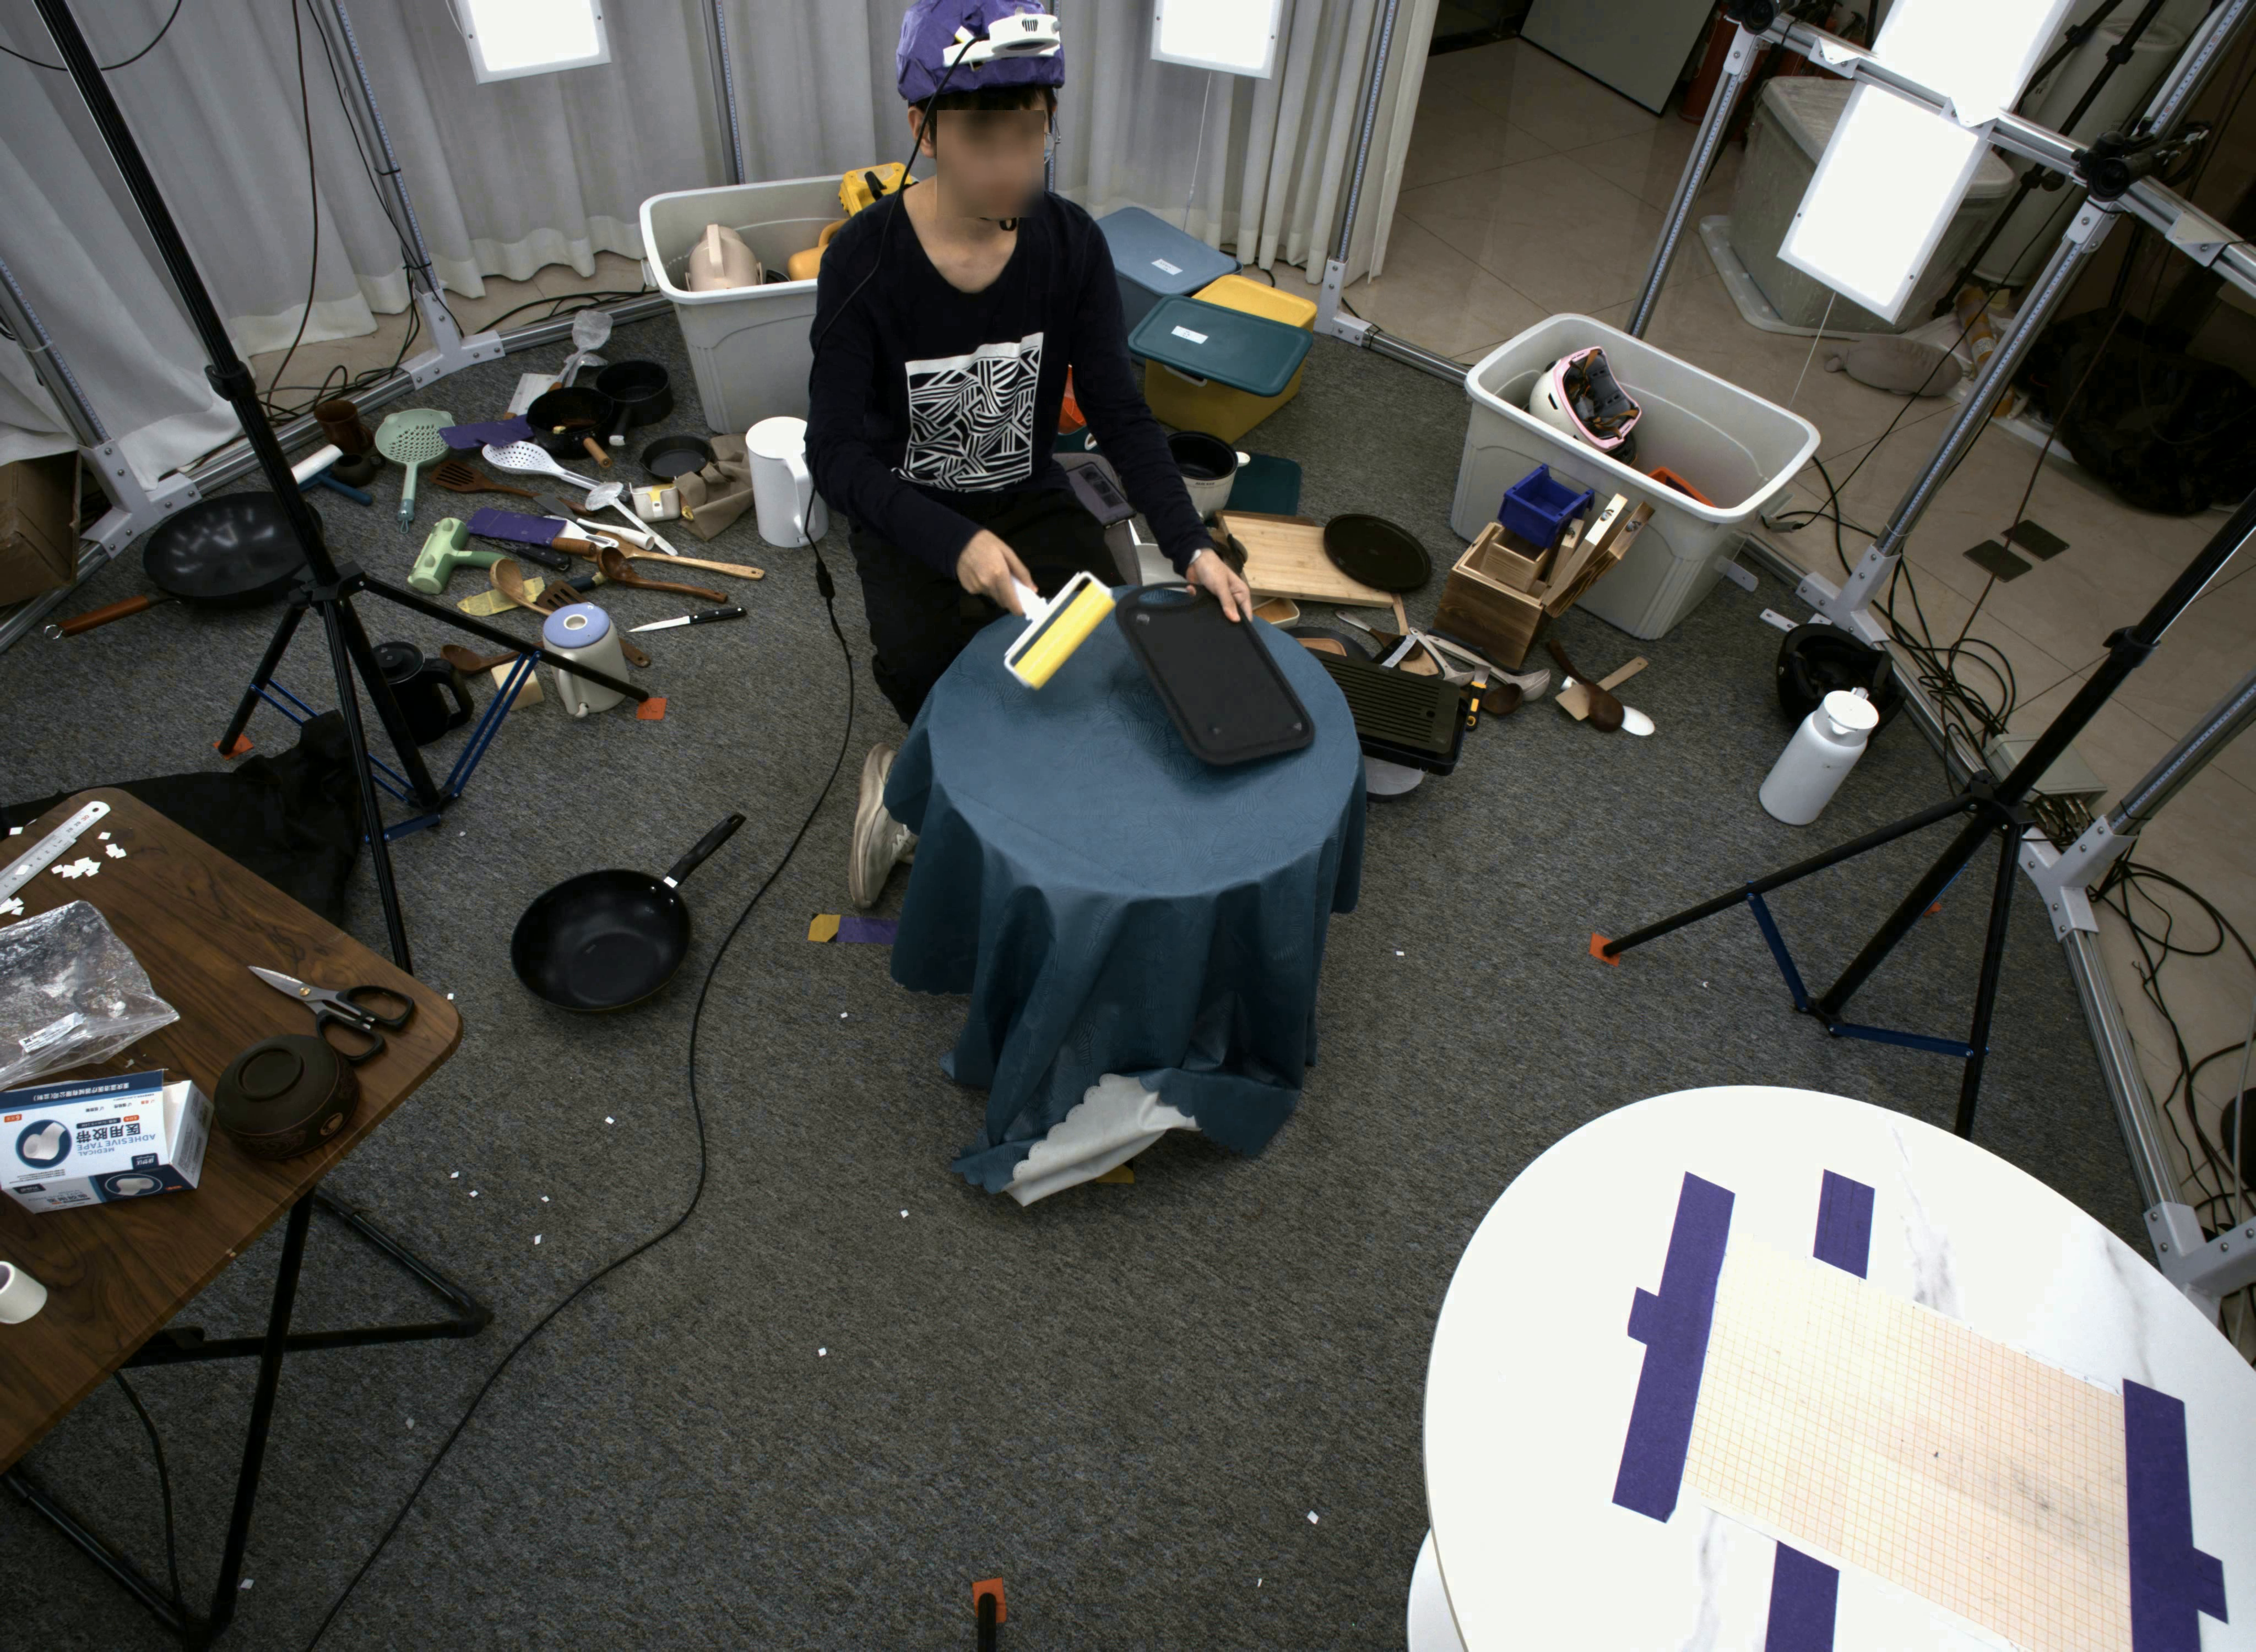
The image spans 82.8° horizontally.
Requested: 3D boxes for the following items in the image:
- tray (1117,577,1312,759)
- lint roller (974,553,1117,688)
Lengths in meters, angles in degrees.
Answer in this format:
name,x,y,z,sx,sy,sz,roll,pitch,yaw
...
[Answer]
name,x,y,z,sx,sy,sz,roll,pitch,yaw
tray,0.117,-0.231,1.802,0.211,0.009,0.332,-11,59,-30
lint roller,-0.139,-0.314,1.785,0.192,0.051,0.174,40,93,1
